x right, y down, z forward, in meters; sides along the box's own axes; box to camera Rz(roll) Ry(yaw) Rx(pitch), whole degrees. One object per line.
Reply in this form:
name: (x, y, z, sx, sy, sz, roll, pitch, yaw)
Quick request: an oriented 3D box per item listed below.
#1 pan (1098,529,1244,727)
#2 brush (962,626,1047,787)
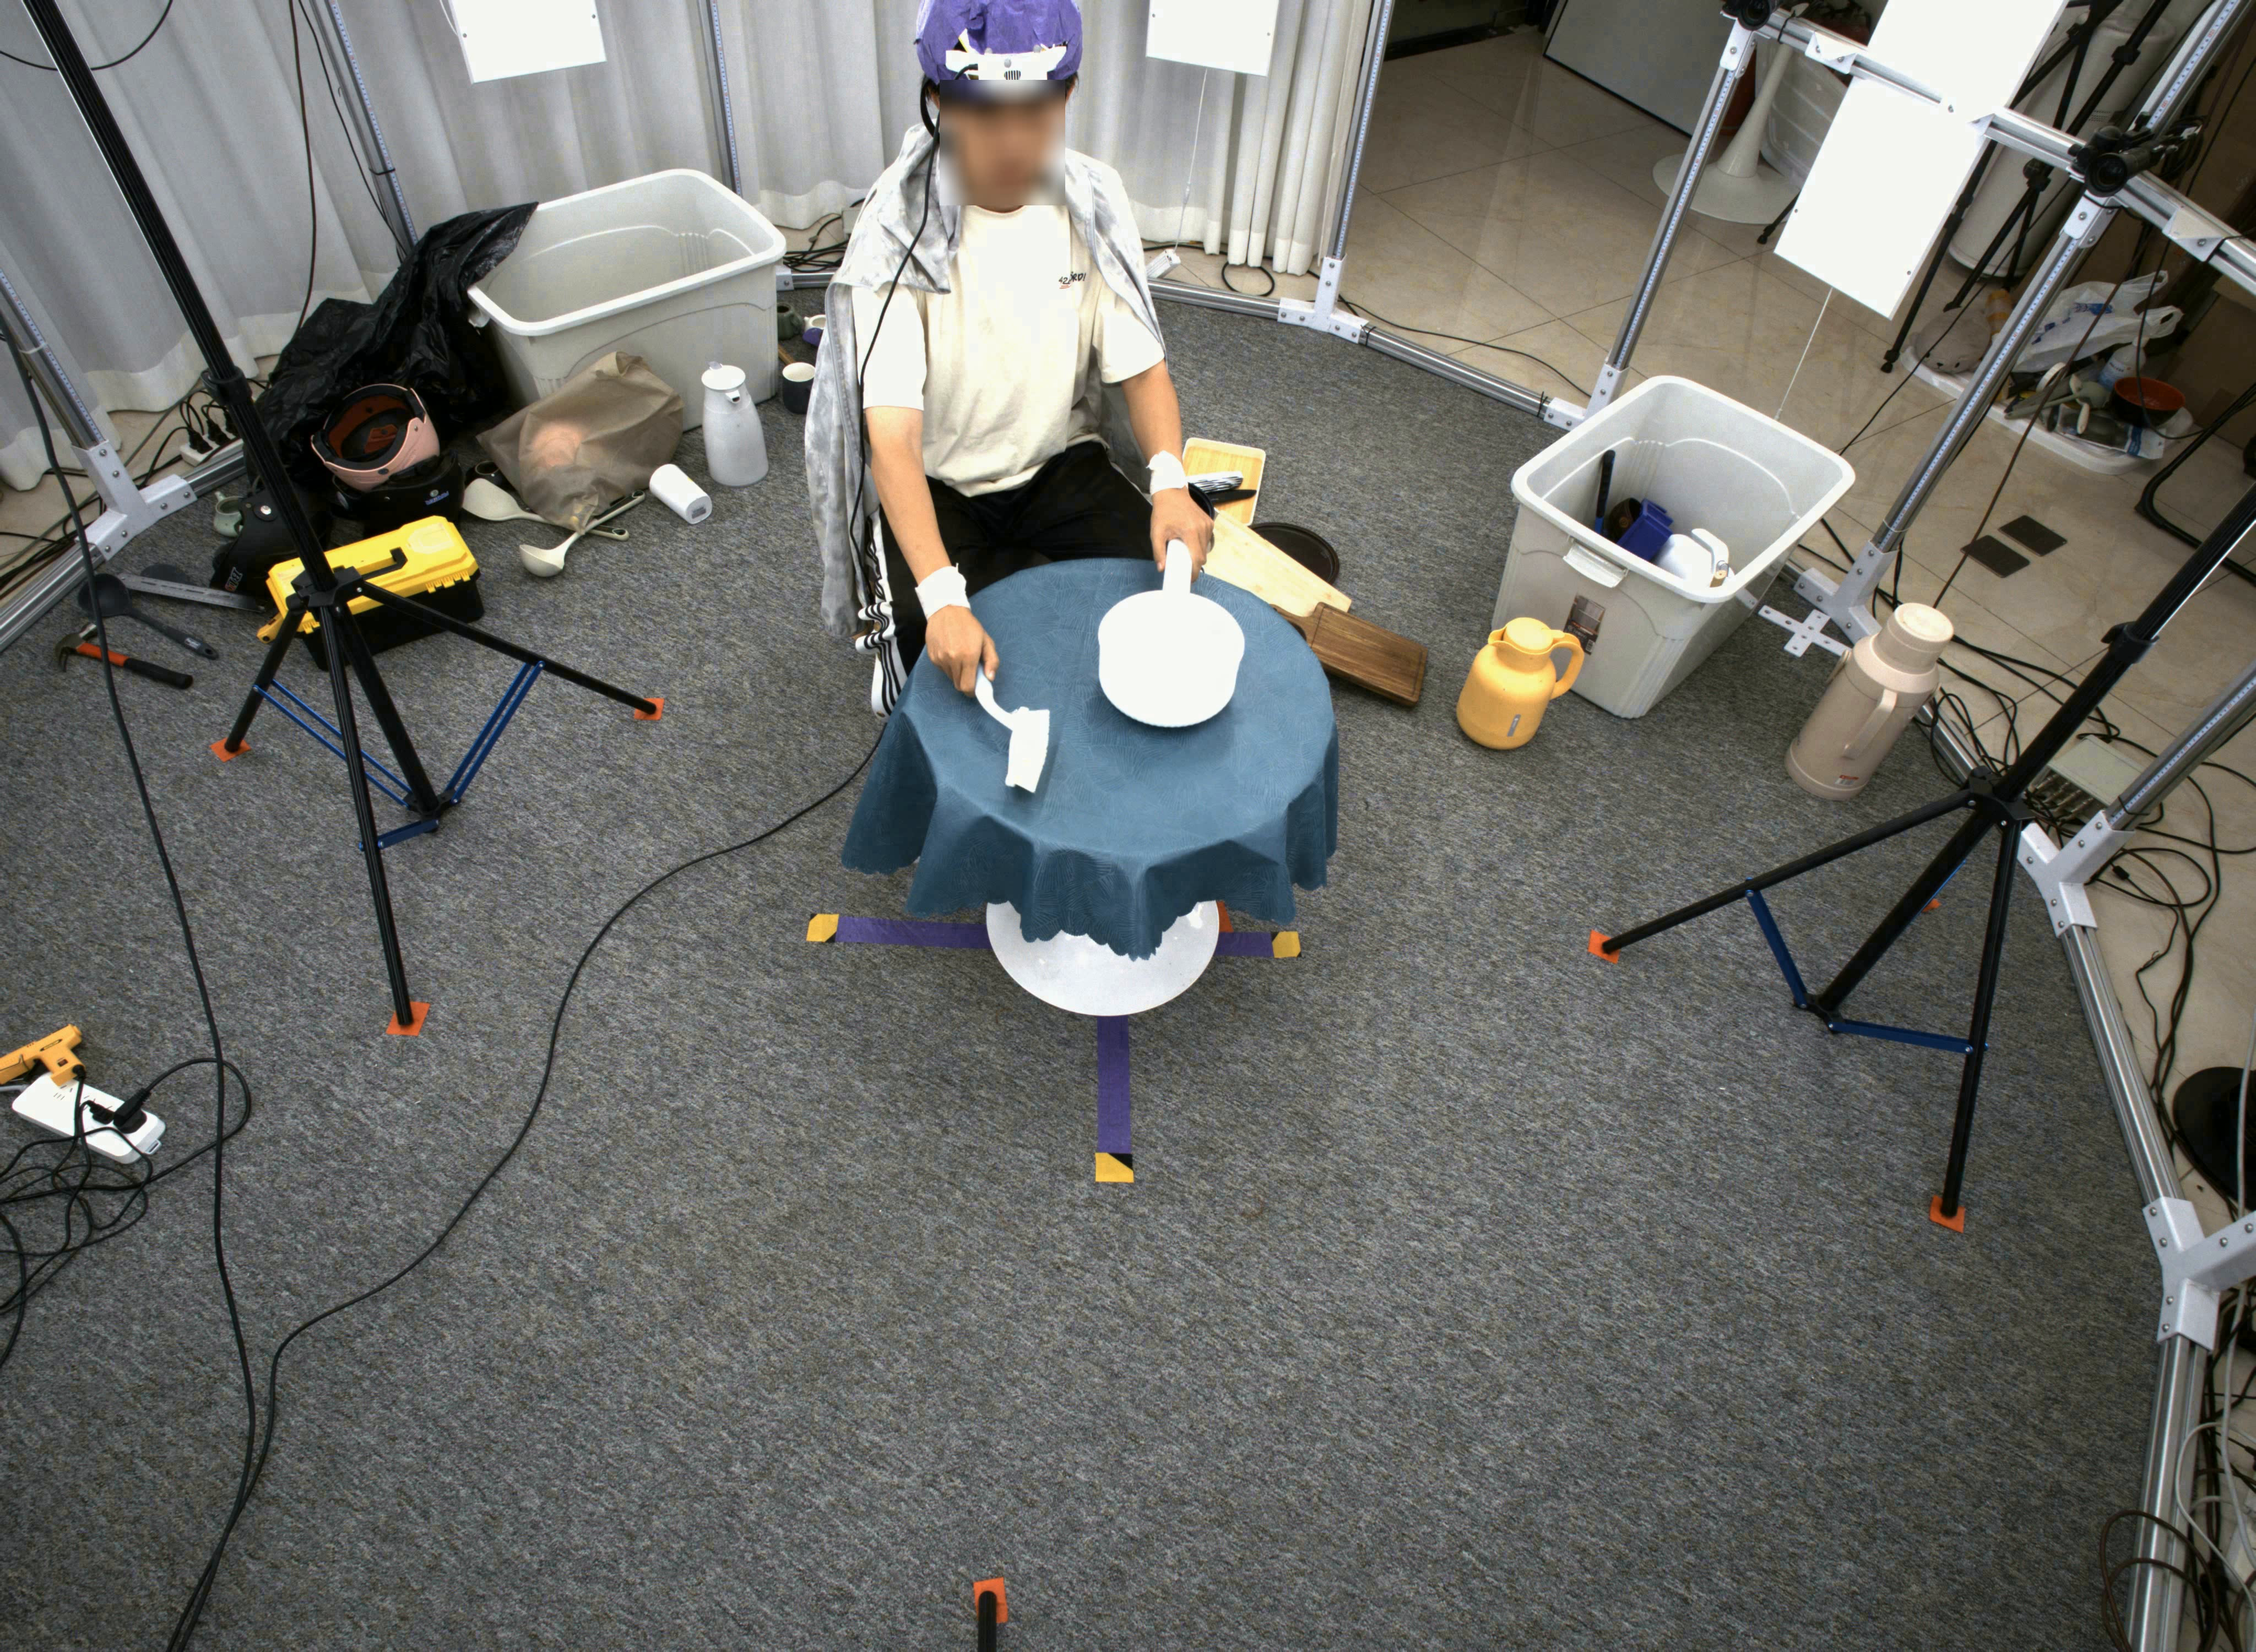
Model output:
pan: (0.064, -0.286, 1.852, 0.201, 0.099, 0.363, 6, 46, 1)
brush: (-0.155, -0.173, 1.758, 0.082, 0.083, 0.334, -34, 43, 16)
